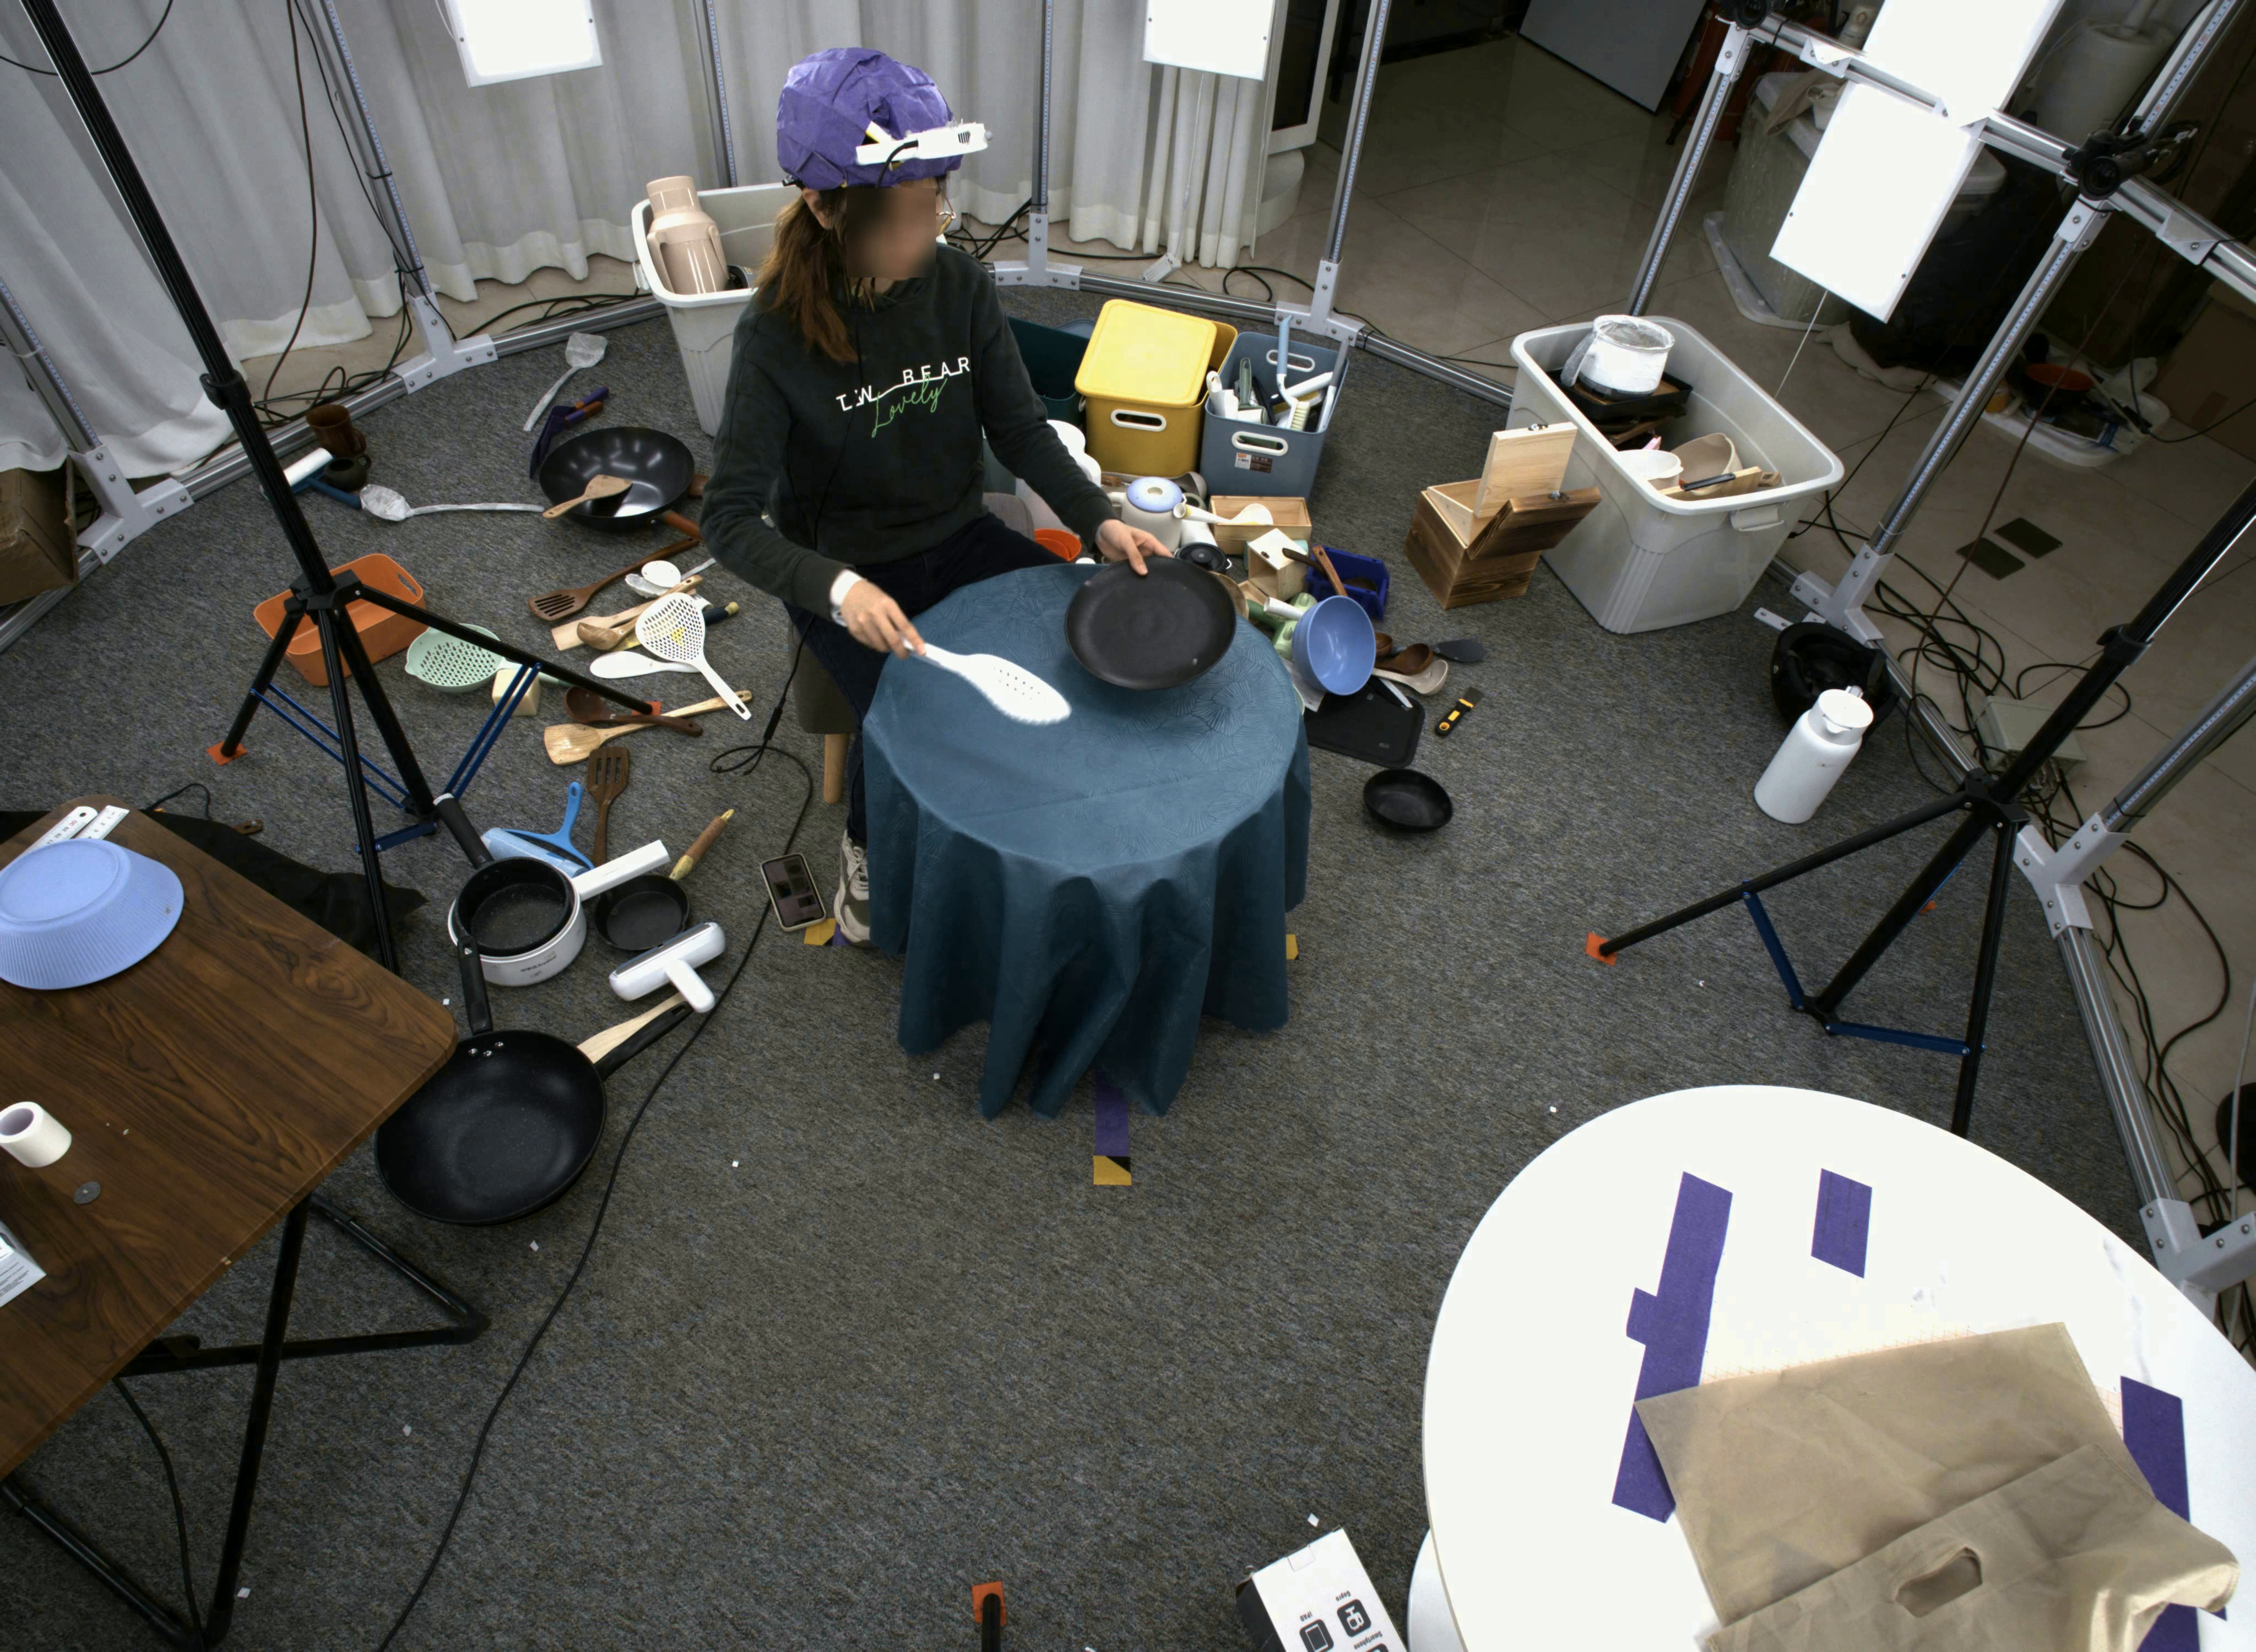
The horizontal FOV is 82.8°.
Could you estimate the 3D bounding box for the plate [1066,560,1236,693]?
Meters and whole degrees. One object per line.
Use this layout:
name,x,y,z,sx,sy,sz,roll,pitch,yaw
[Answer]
plate,0.033,-0.285,1.842,0.244,0.023,0.250,-2,57,3

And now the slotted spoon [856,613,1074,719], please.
slotted spoon,-0.218,-0.213,1.656,0.354,0.133,0.046,29,82,29
